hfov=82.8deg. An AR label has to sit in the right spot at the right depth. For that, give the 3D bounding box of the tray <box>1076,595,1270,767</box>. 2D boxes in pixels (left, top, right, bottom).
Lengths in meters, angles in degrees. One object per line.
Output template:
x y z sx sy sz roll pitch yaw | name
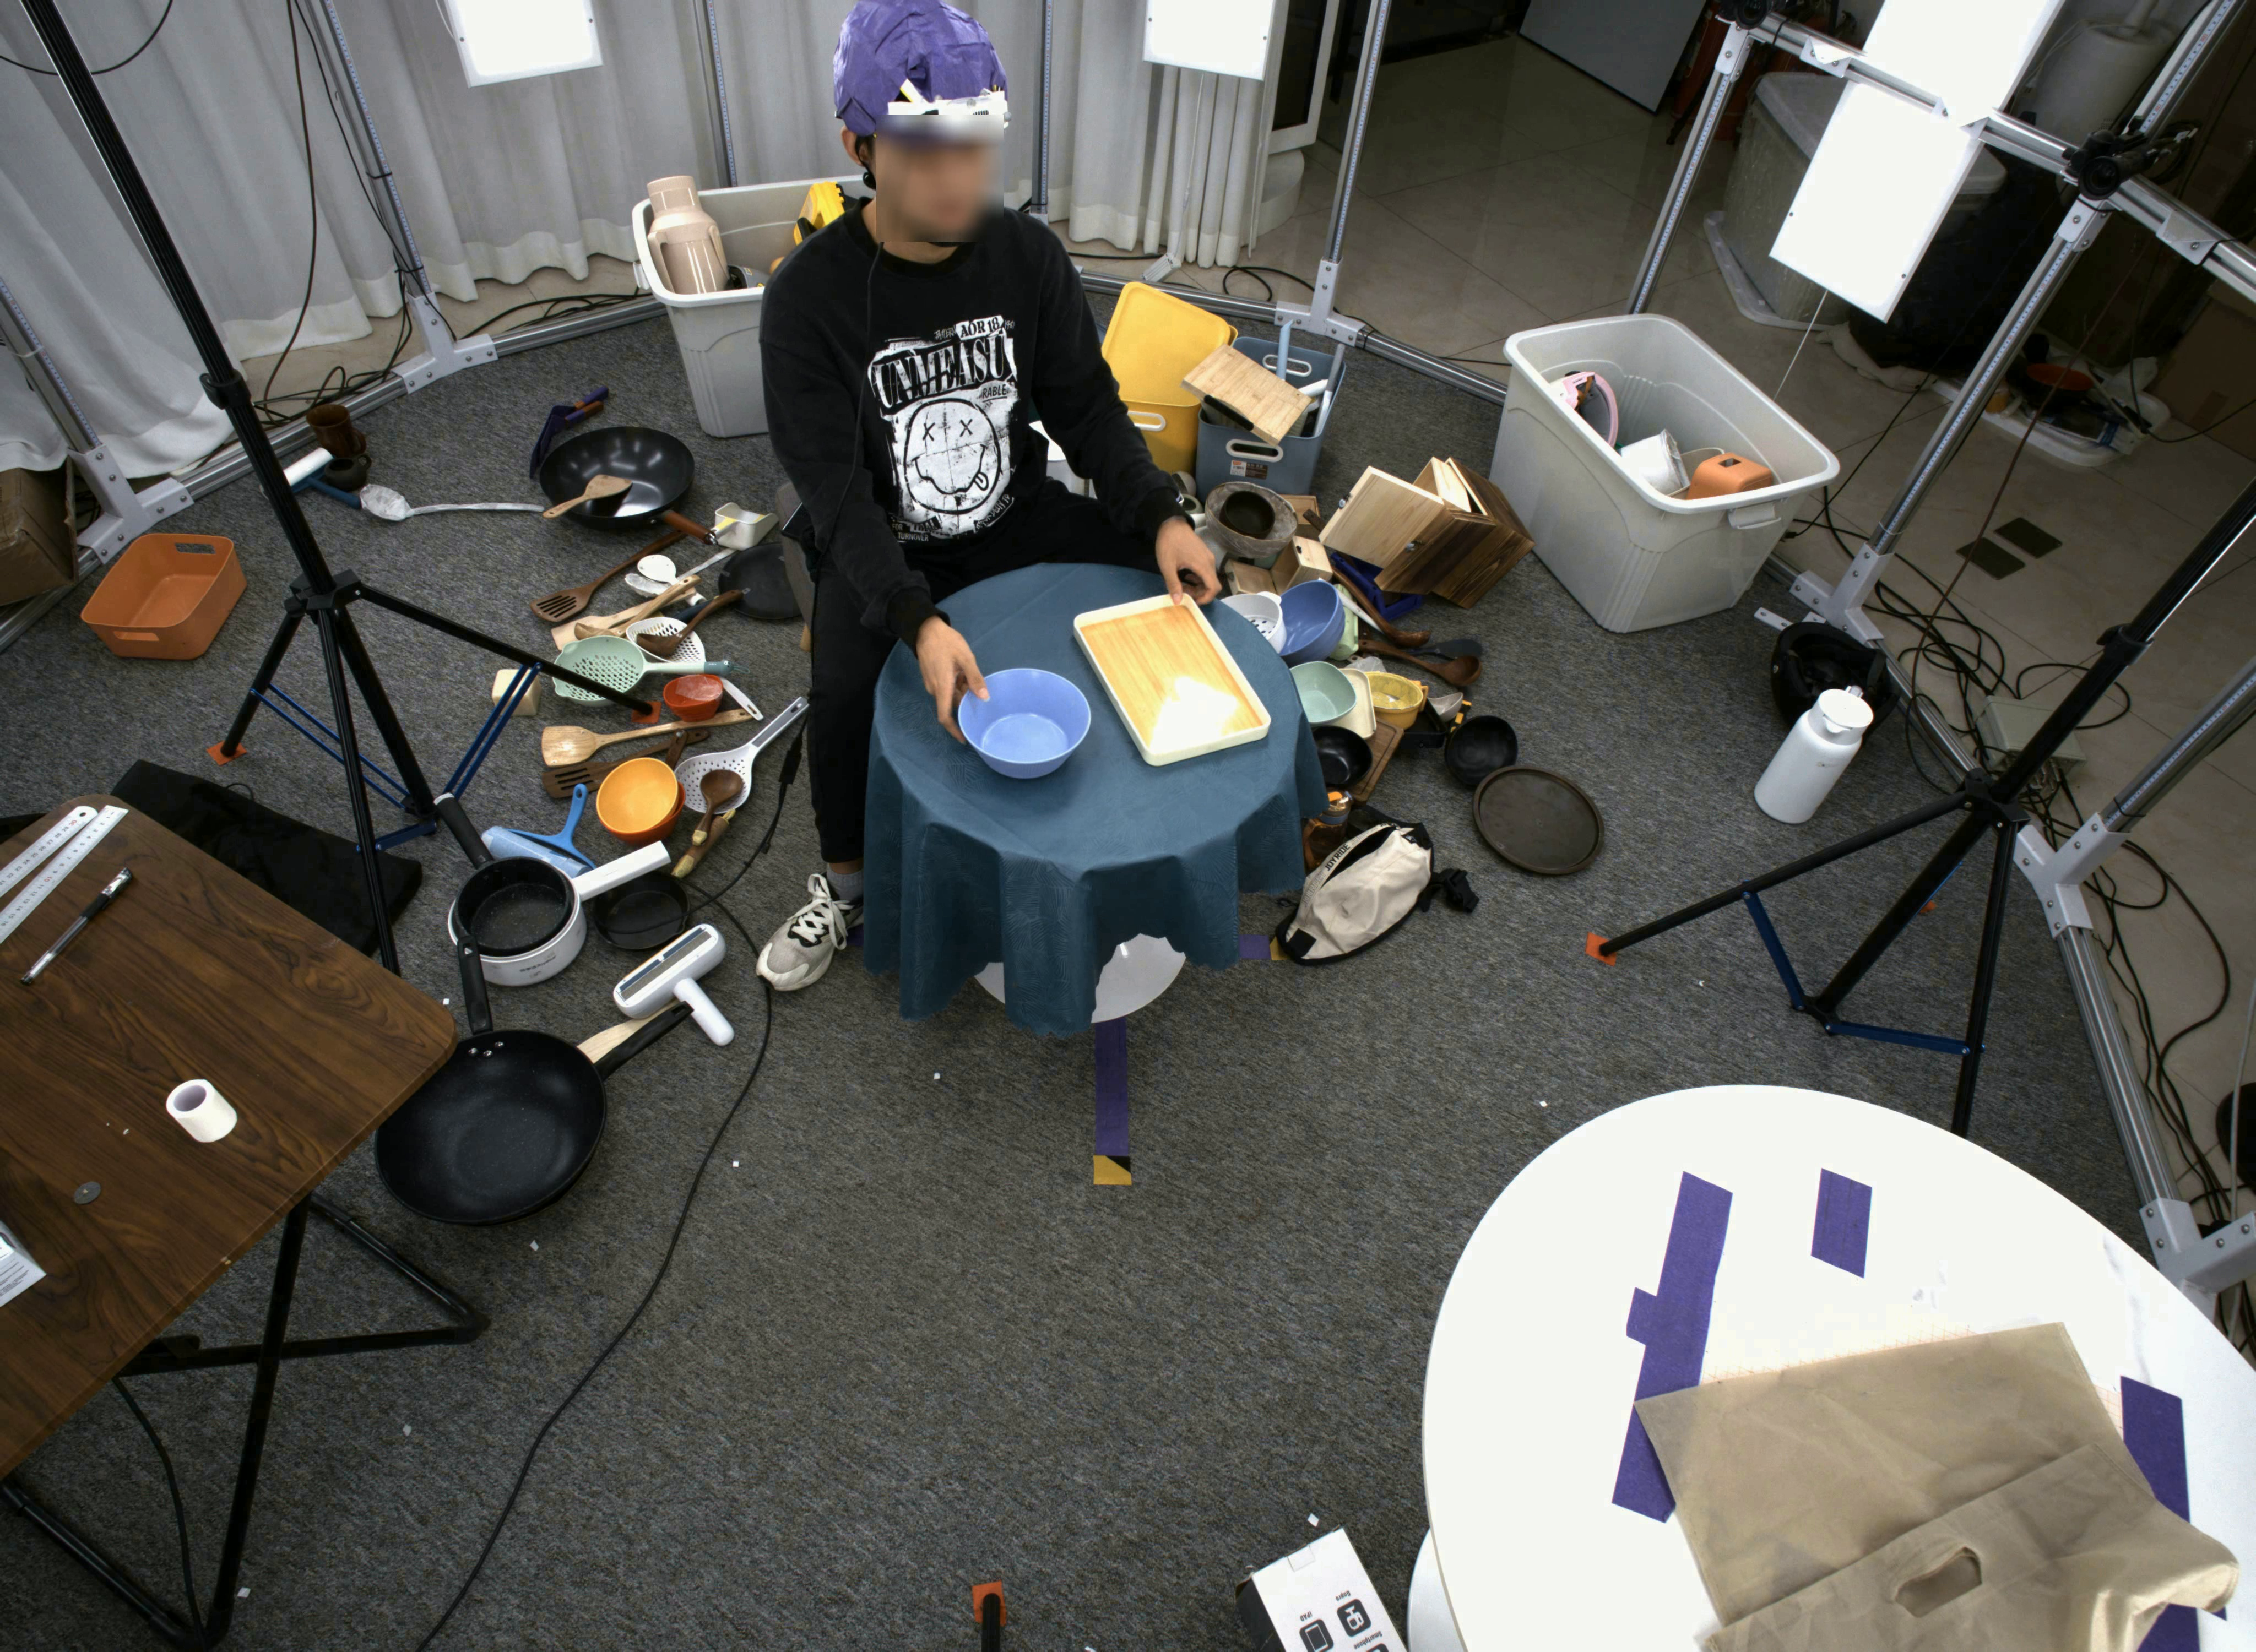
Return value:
0.060 -0.217 1.860 0.192 0.027 0.307 -15 52 -17 | tray

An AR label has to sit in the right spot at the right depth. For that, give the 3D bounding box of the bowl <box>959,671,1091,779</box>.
-0.140 -0.128 1.740 0.176 0.068 0.180 3 49 -3 | bowl
